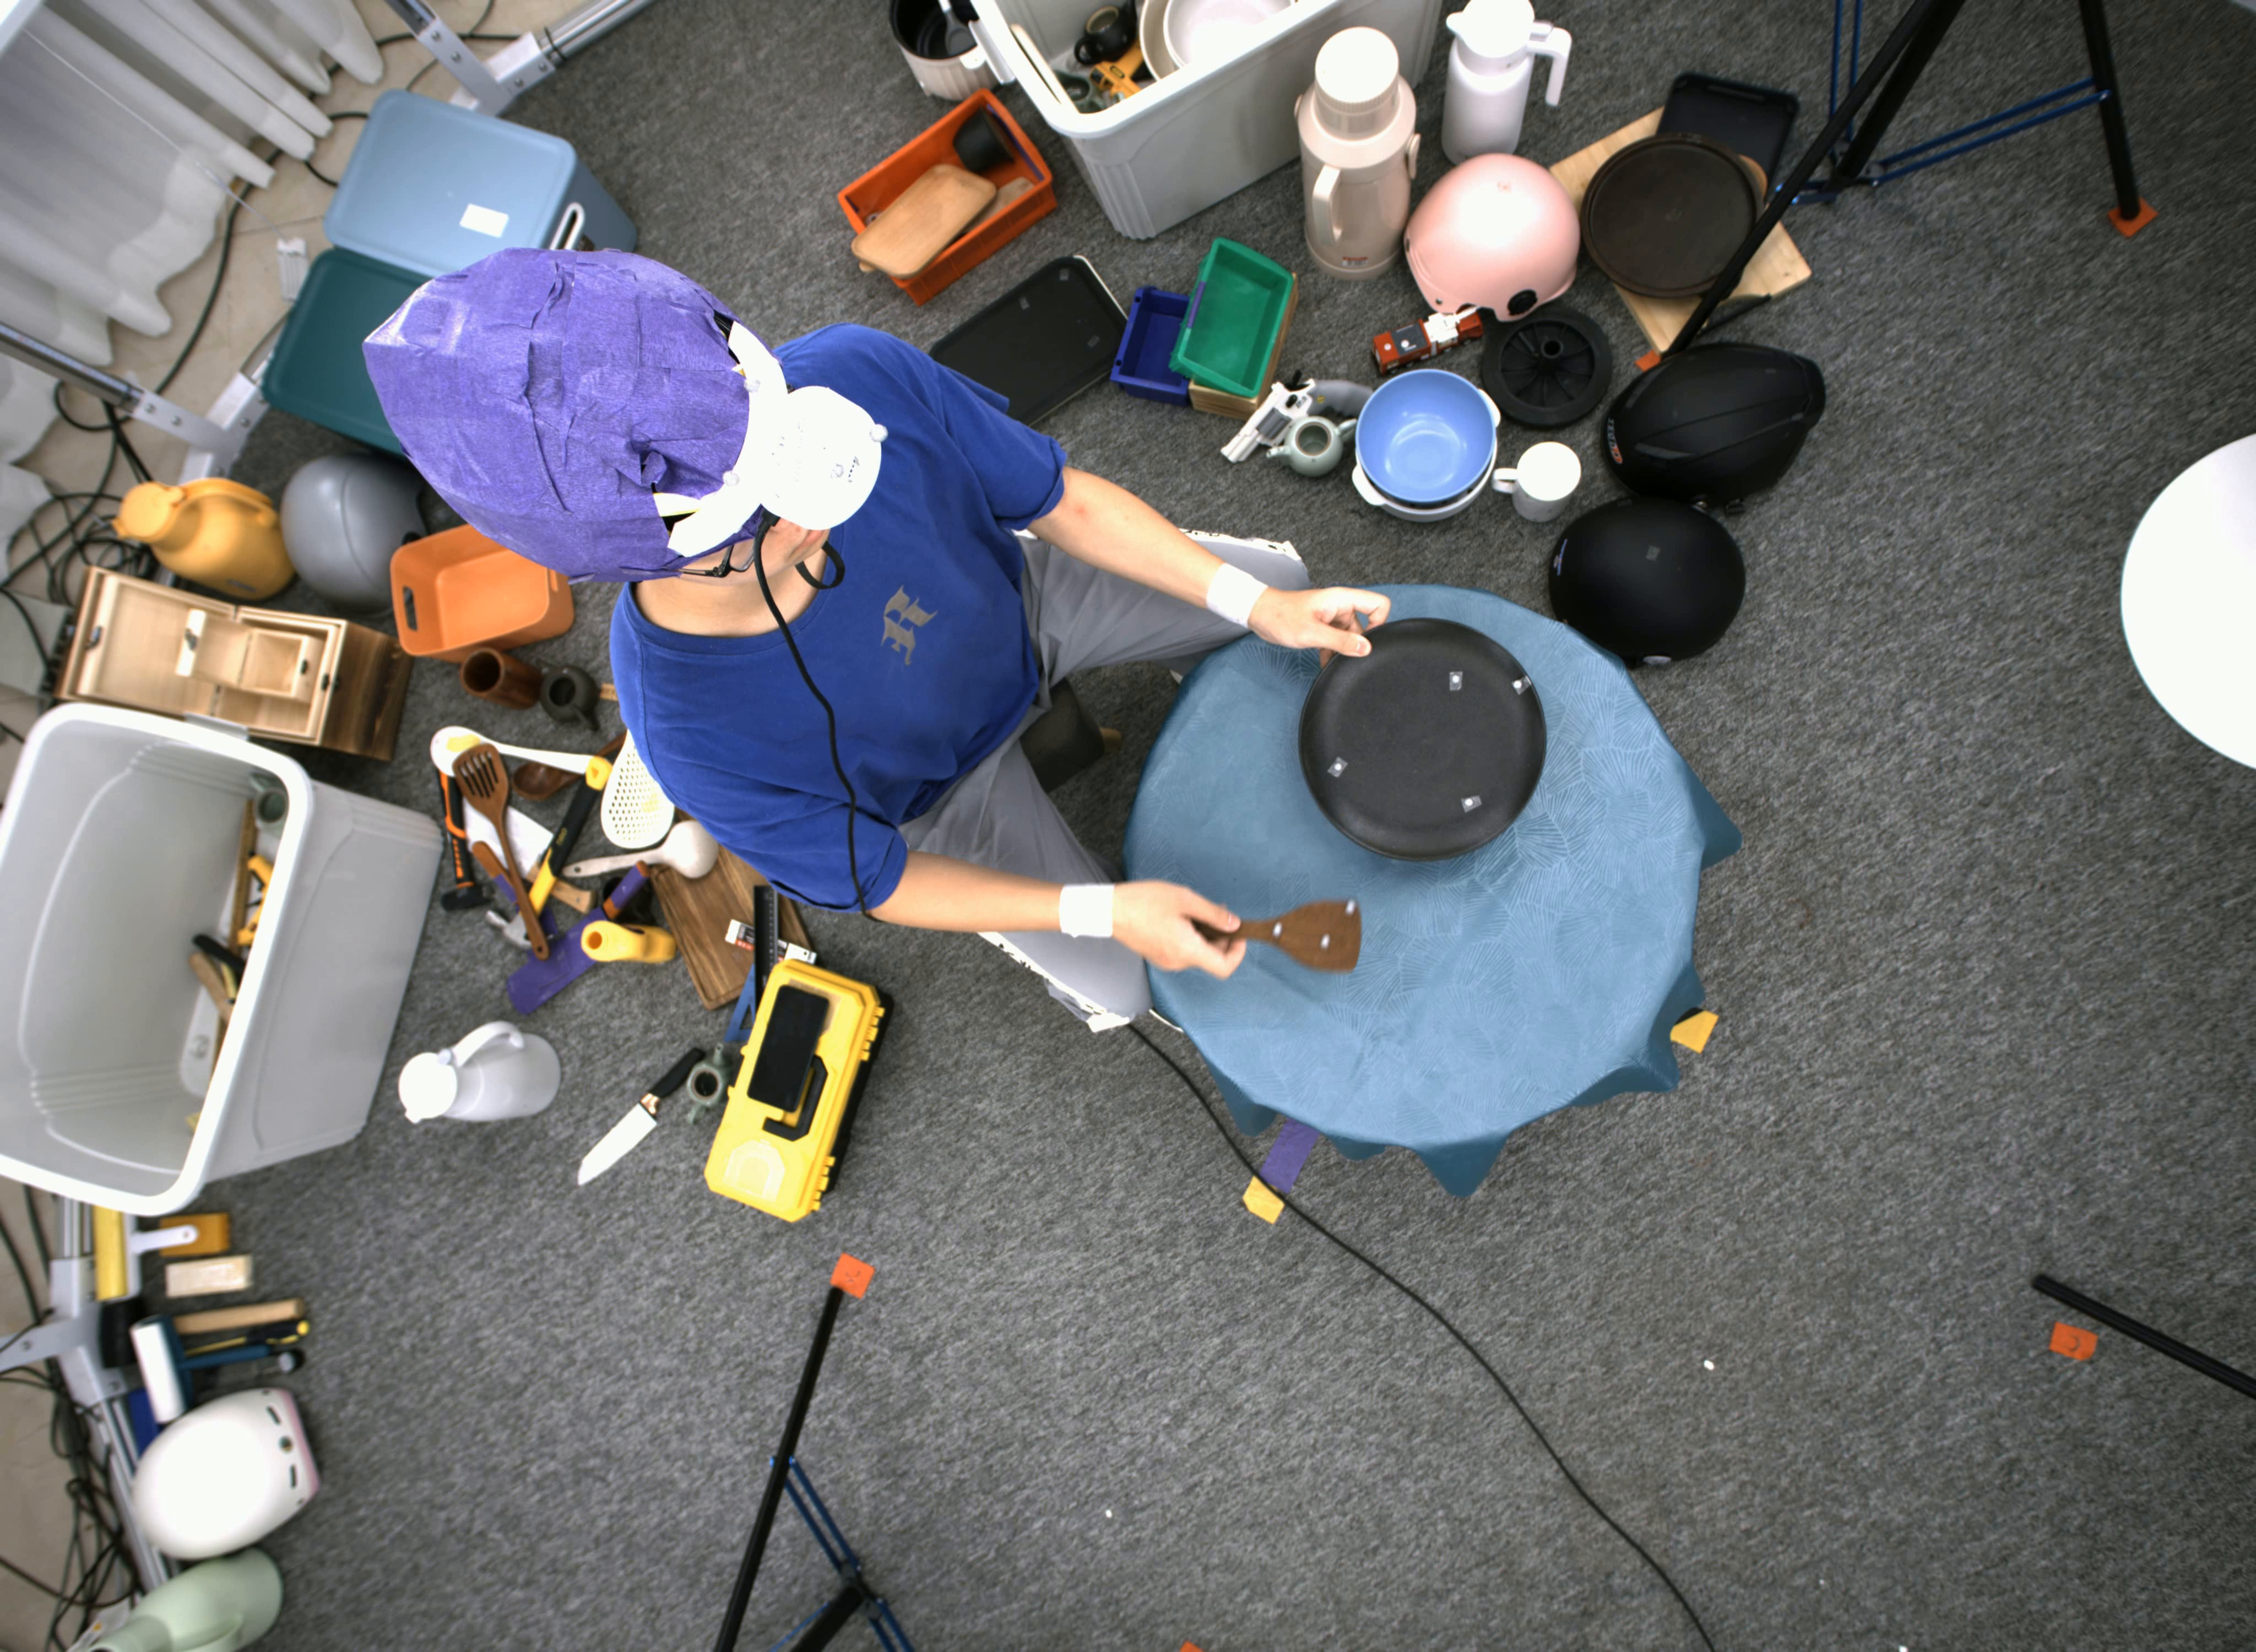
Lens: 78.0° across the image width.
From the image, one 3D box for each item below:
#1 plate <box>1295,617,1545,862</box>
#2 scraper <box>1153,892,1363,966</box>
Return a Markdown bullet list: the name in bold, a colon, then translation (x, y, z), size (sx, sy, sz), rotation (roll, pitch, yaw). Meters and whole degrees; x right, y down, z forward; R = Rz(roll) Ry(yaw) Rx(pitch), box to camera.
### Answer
- **plate**: translation (0.289, -0.087, 1.369), size (0.245, 0.023, 0.246), rotation (2, 101, 14)
- **scraper**: translation (0.127, 0.097, 1.376), size (0.212, 0.011, 0.074), rotation (2, 73, 15)
